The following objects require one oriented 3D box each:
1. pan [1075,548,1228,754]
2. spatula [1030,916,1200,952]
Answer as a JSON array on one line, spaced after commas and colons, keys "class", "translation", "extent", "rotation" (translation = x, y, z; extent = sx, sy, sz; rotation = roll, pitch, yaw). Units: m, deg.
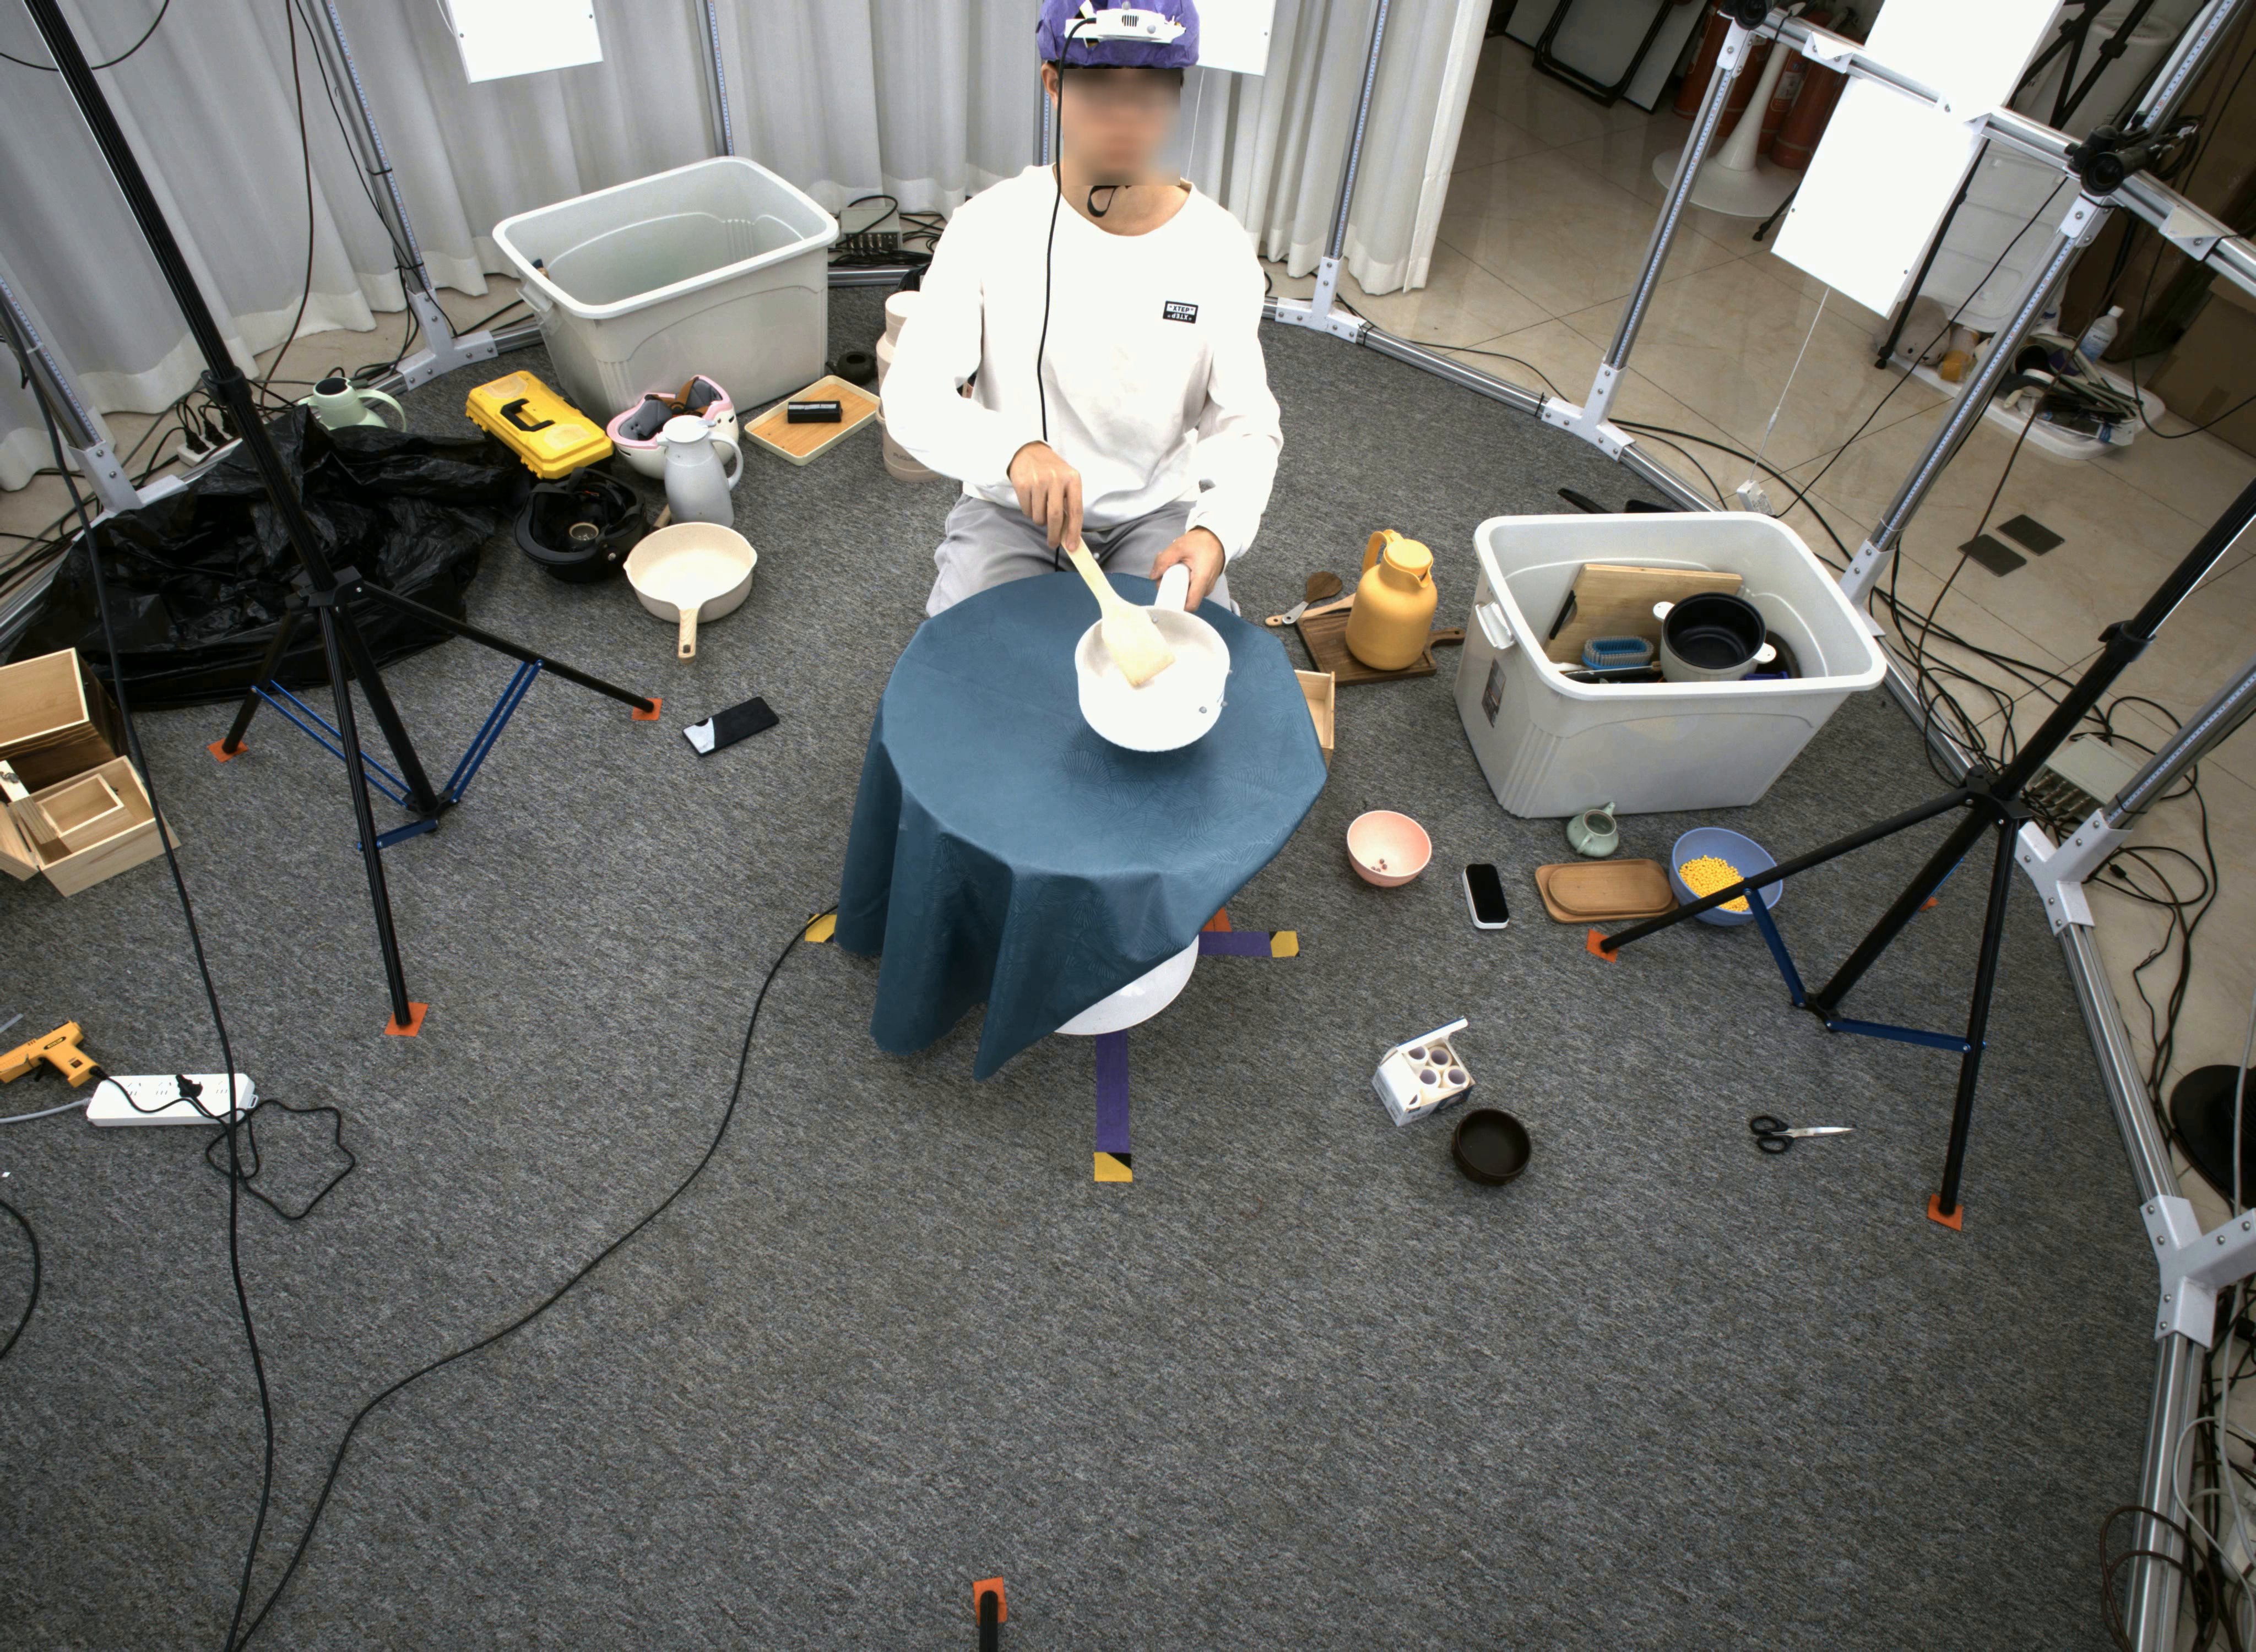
[{"class": "pan", "translation": [0.048, -0.242, 1.764], "extent": [0.201, 0.099, 0.363], "rotation": [6, 46, 10]}, {"class": "spatula", "translation": [-0.021, 0.189, 2.205], "extent": [0.293, 0.010, 0.074], "rotation": [3, 47, -2]}]
